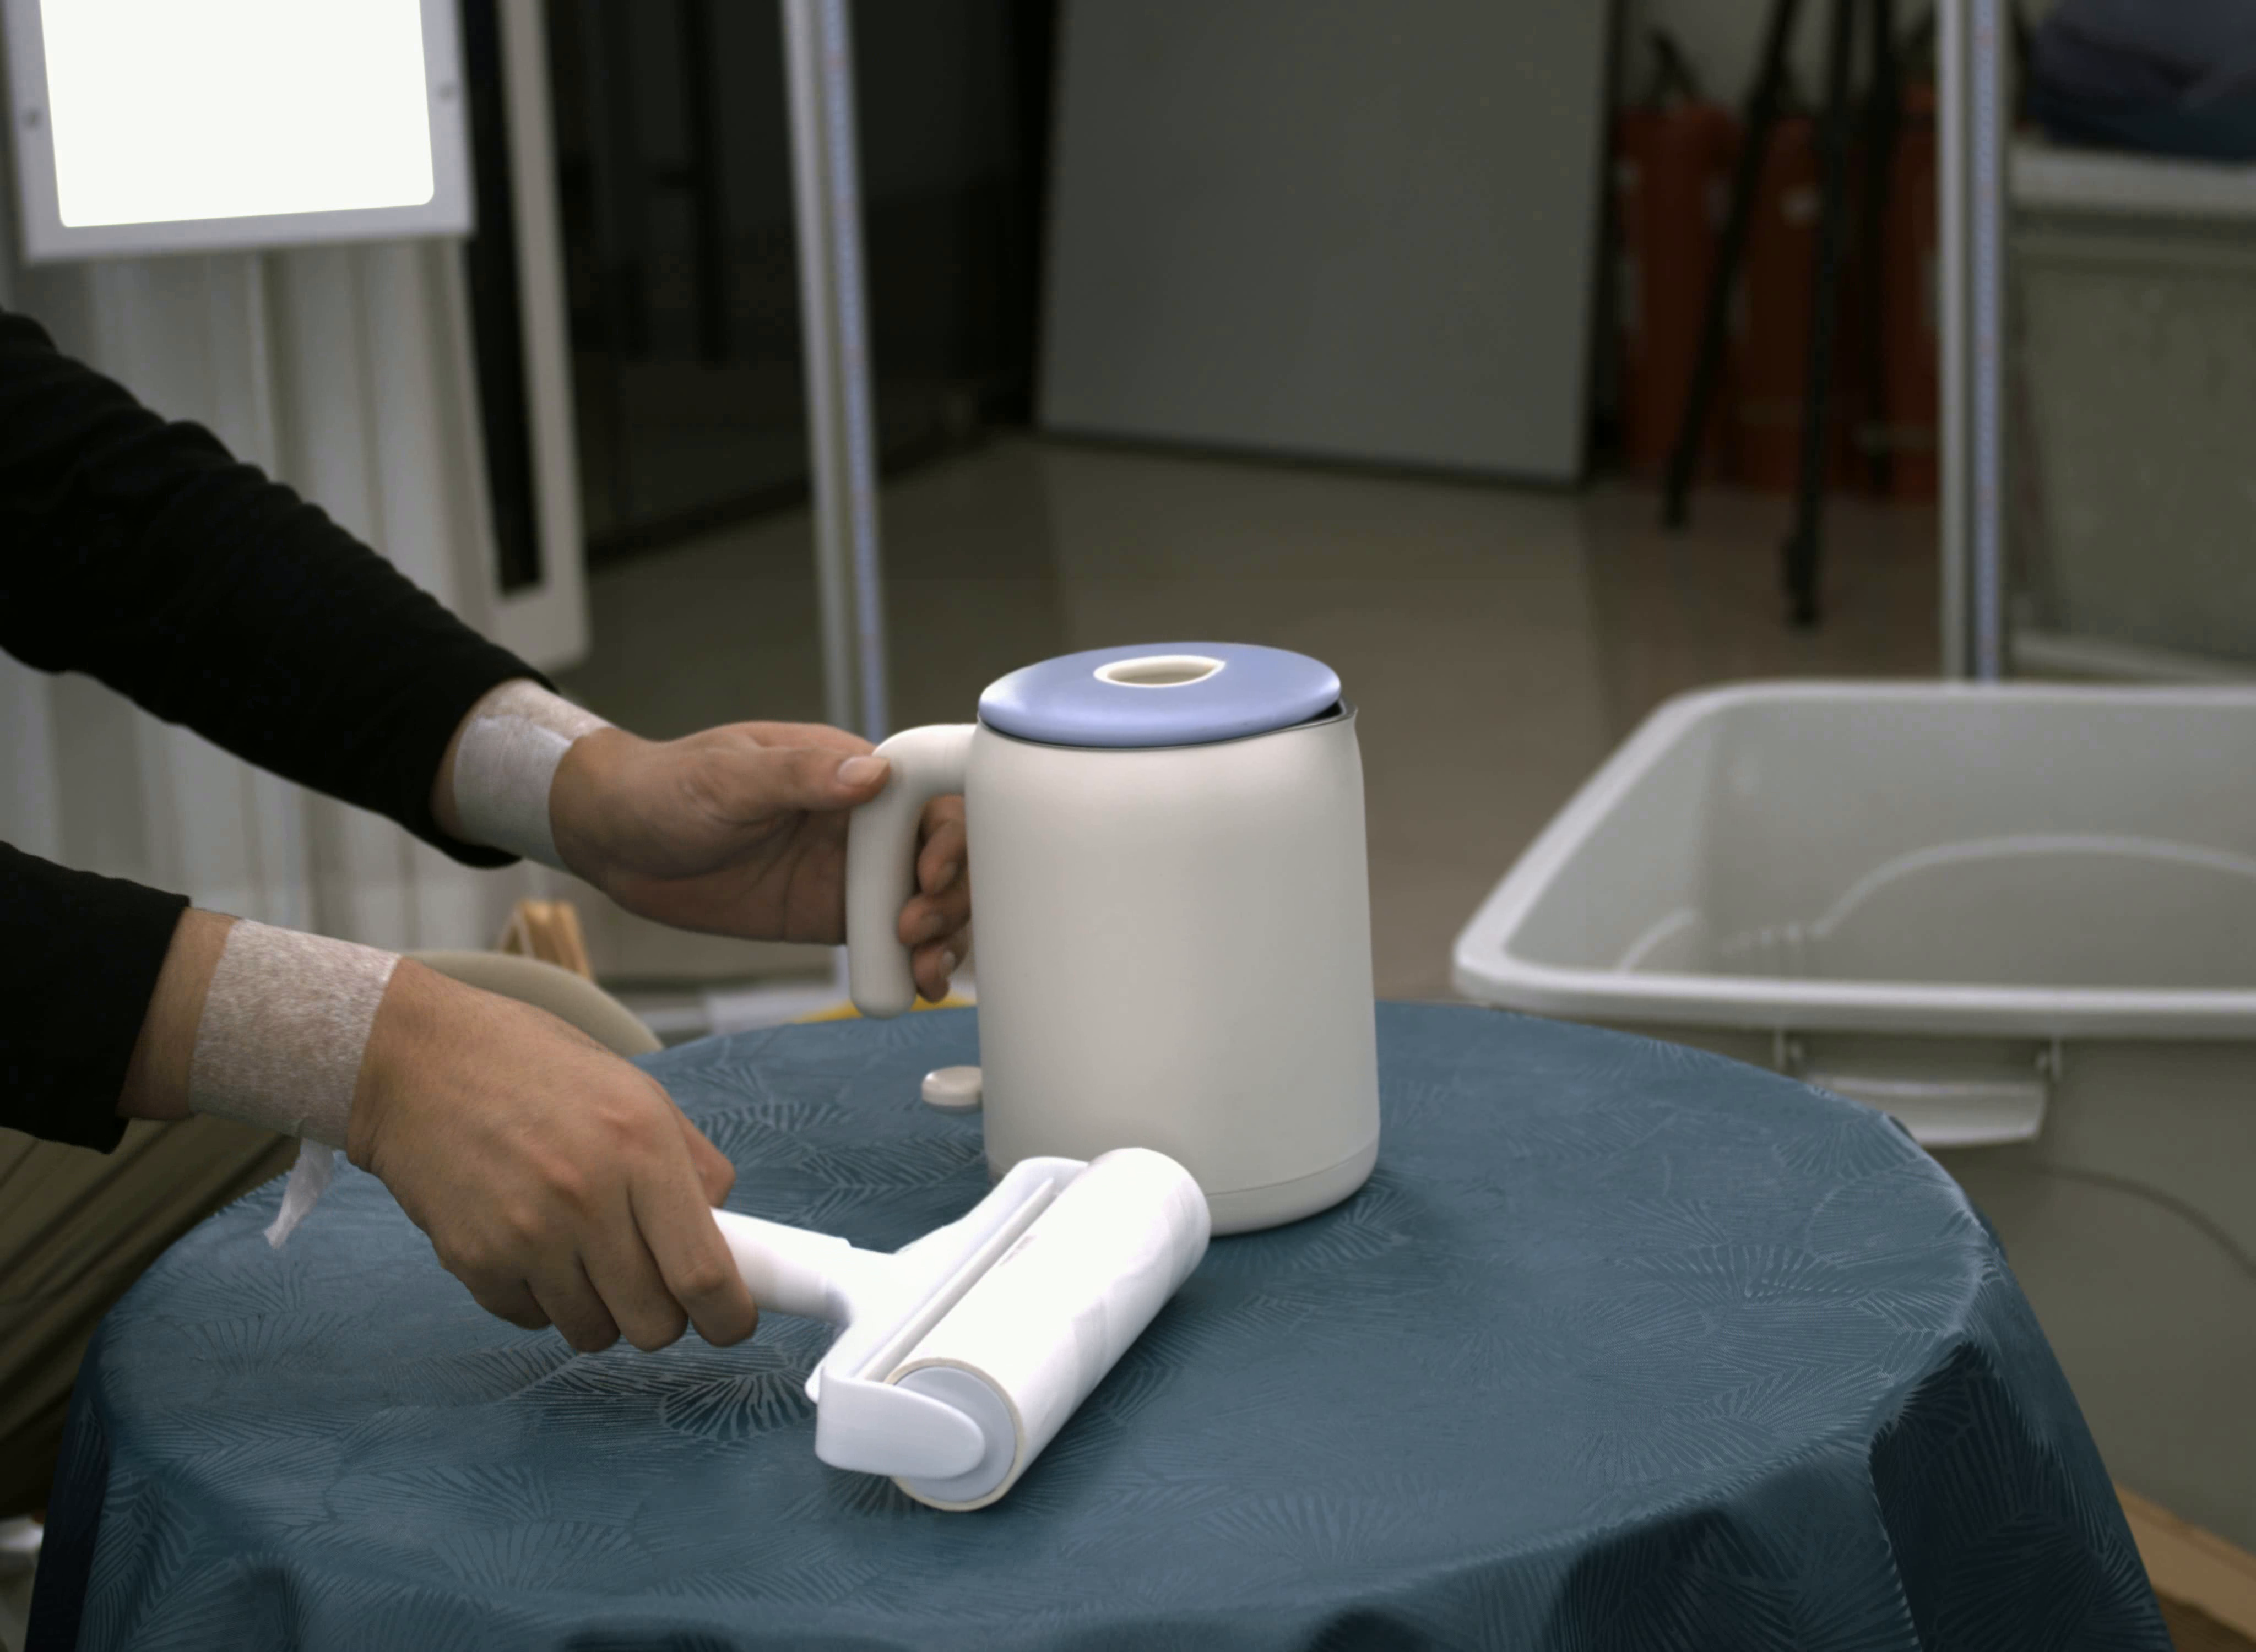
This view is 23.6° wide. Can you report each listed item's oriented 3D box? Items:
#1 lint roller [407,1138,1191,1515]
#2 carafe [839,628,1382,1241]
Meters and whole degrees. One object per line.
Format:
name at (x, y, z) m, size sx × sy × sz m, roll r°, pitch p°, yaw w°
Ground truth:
lint roller at (-0.109, 0.129, 1.604) m, size 0.225 × 0.049 × 0.201 m, roll 10°, pitch 18°, yaw 15°
carafe at (-0.008, 0.034, 1.763) m, size 0.191 × 0.184 × 0.130 m, roll 0°, pitch 13°, yaw 24°
